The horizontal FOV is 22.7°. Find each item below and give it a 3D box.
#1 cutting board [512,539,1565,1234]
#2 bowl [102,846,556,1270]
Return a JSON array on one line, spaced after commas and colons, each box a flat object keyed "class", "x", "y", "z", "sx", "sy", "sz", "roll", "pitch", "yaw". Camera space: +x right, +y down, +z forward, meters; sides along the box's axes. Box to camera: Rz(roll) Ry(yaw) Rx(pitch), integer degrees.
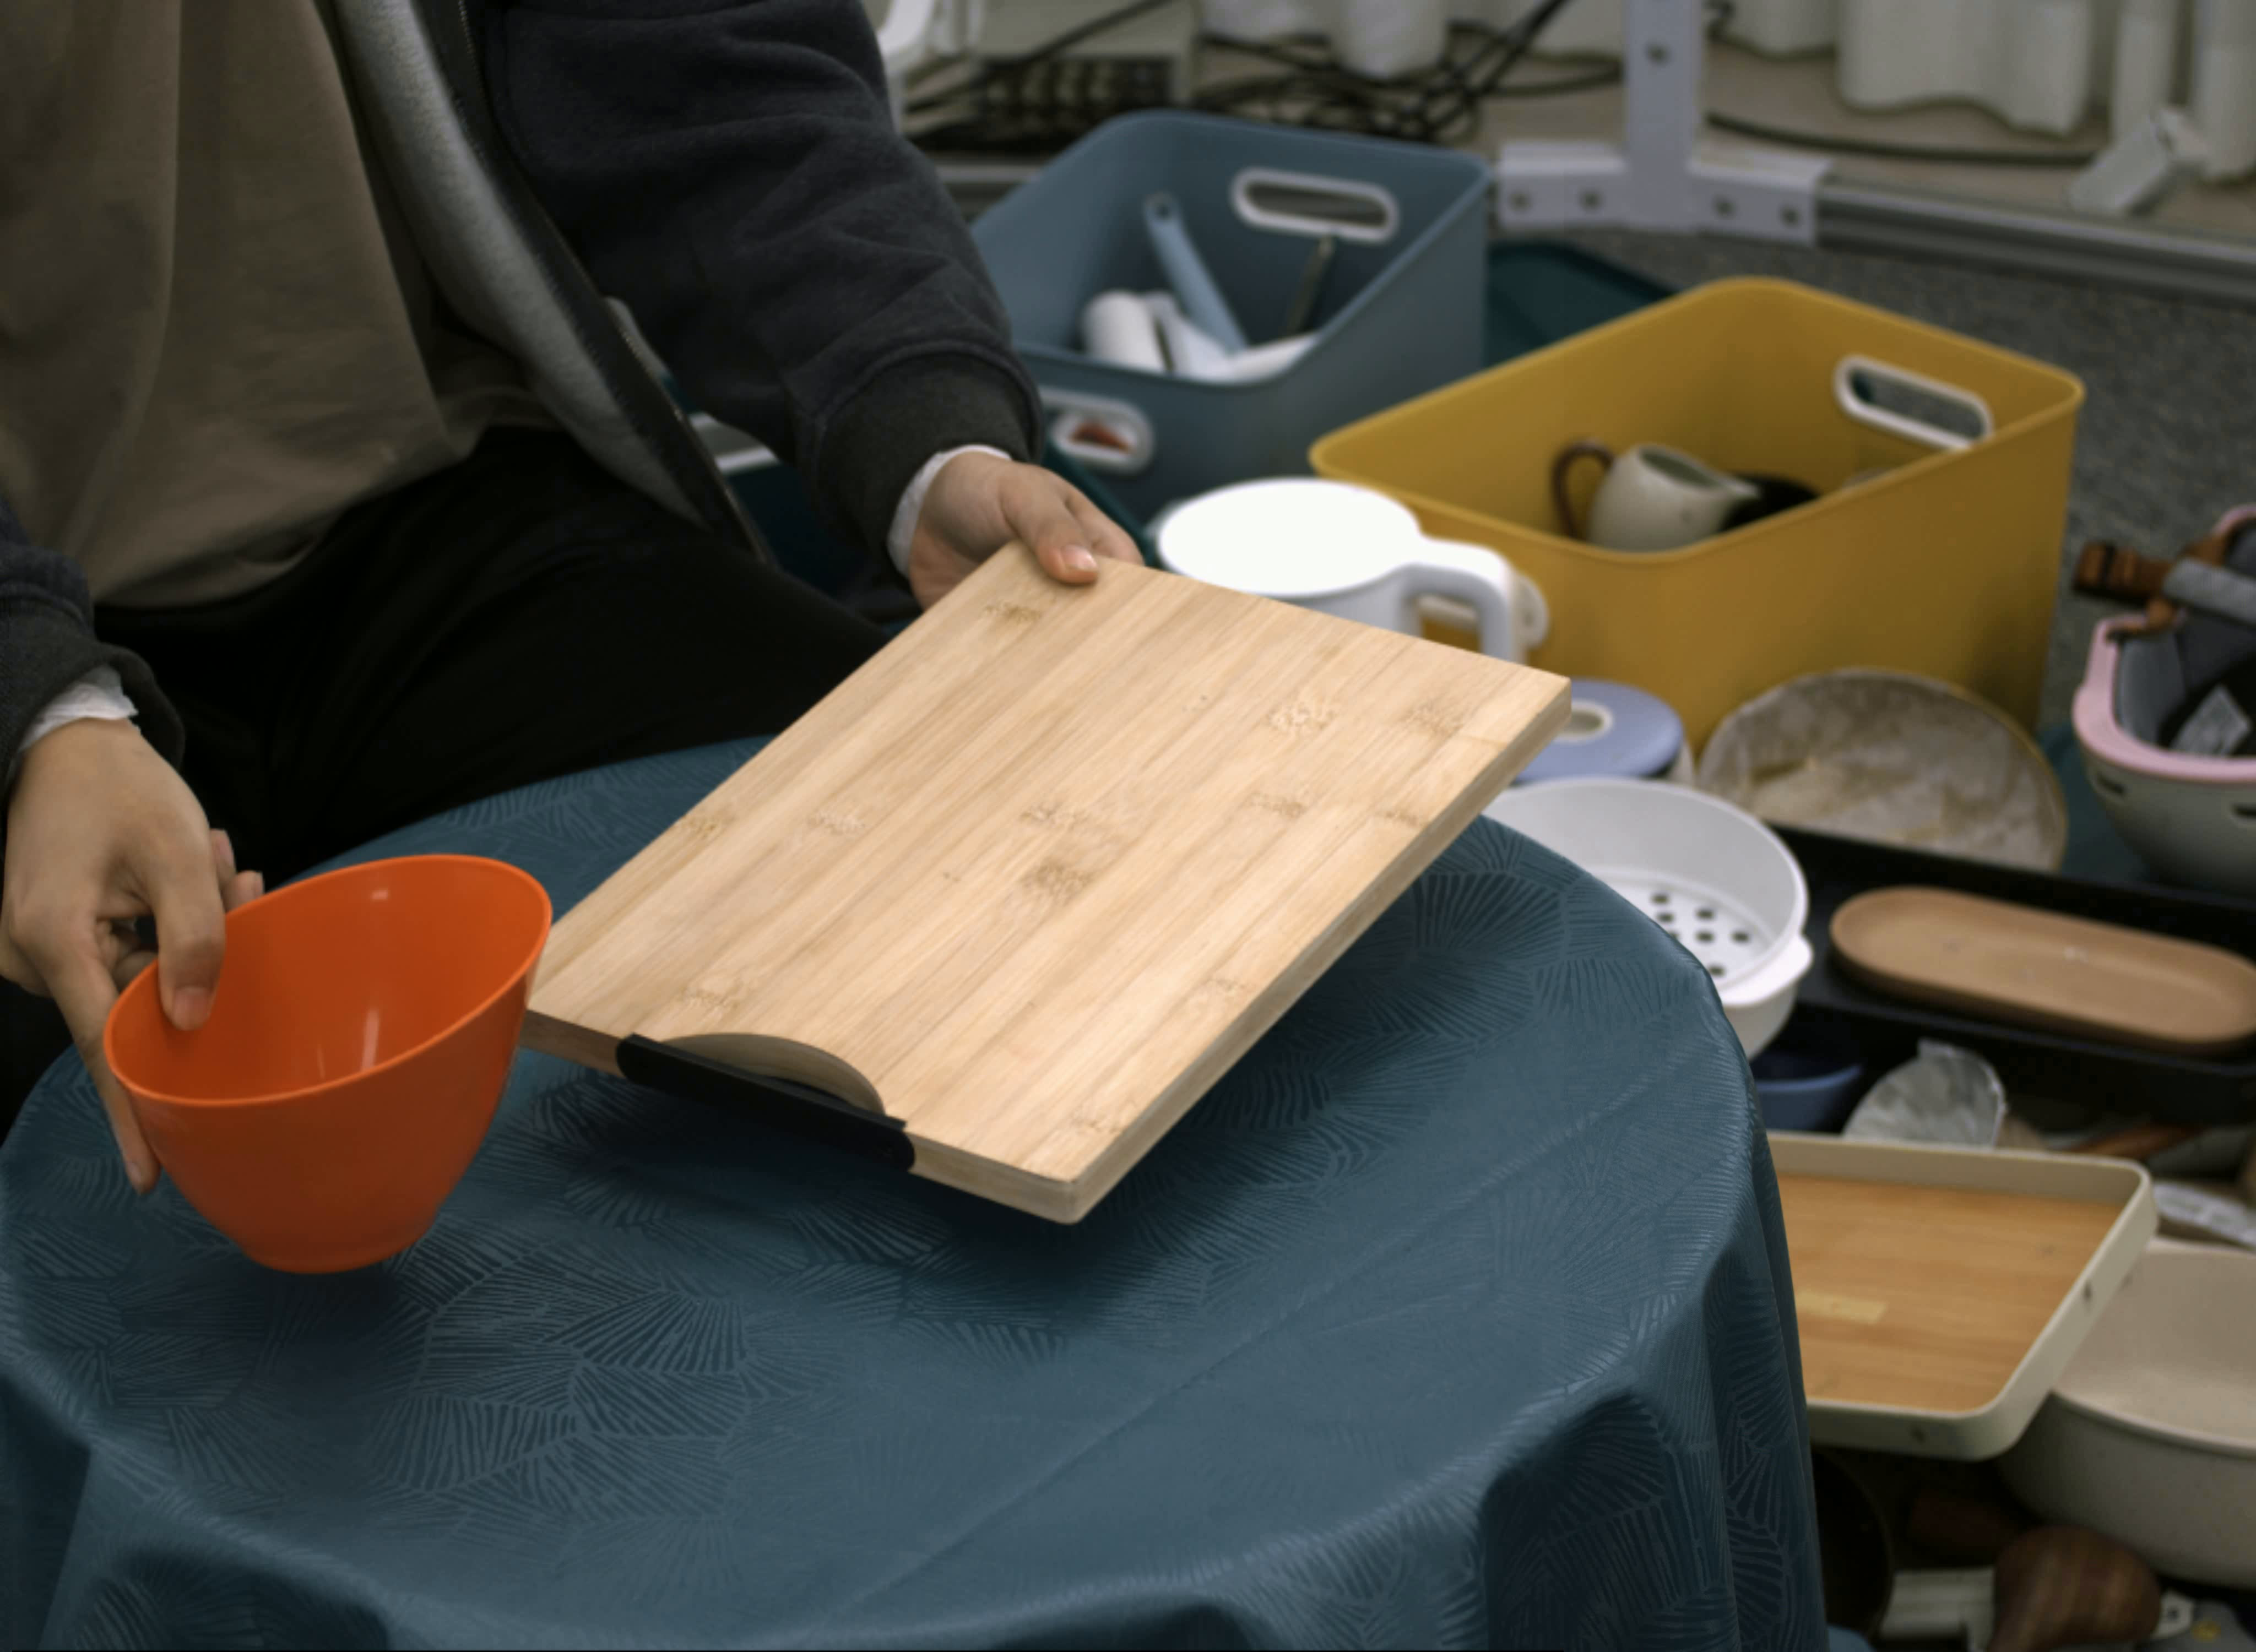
[{"class": "cutting board", "x": -0.034, "y": 0.012, "z": 1.954, "sx": 0.249, "sy": 0.023, "sz": 0.354, "roll": 15, "pitch": 36, "yaw": 28}, {"class": "bowl", "x": -0.250, "y": 0.082, "z": 1.796, "sx": 0.147, "sy": 0.103, "sz": 0.150, "roll": -3, "pitch": 30, "yaw": 2}]
